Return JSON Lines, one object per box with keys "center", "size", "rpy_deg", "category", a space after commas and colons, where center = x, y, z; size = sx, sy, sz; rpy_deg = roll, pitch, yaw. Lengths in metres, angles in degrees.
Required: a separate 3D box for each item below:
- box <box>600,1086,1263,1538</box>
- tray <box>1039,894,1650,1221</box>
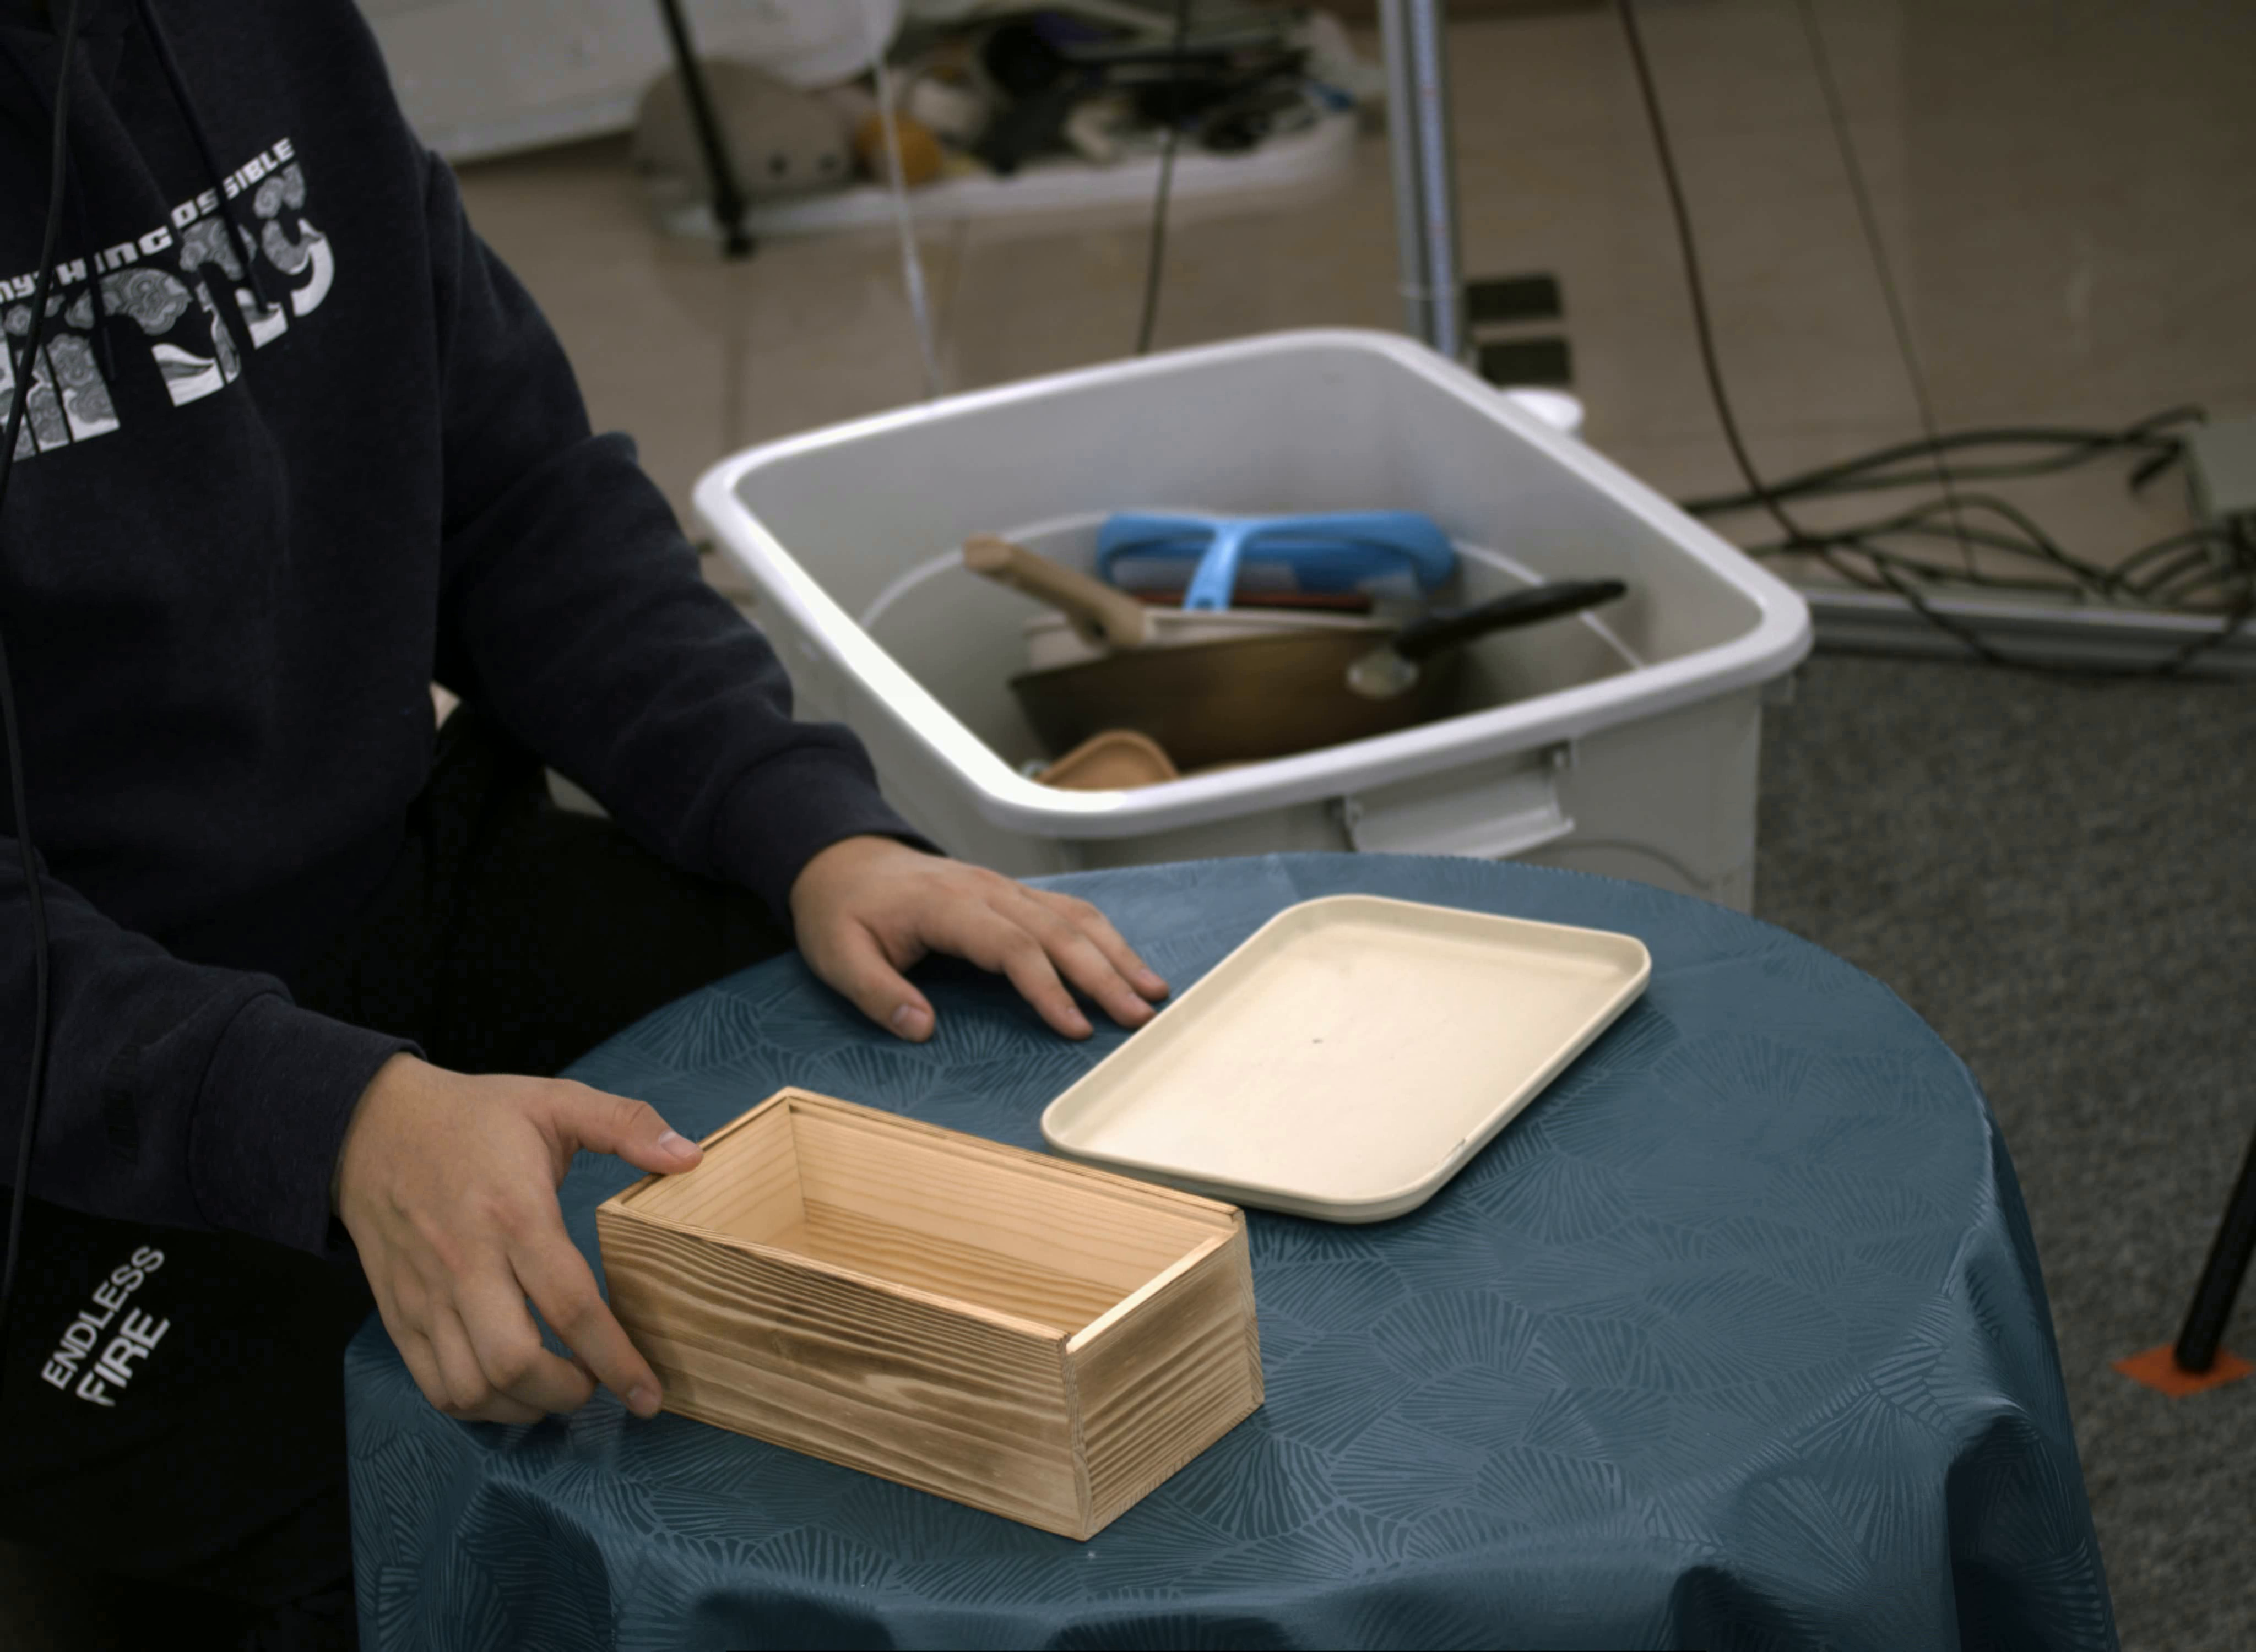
{"center": [-0.070, 0.168, 2.004], "size": [0.210, 0.081, 0.106], "rpy_deg": [12, 30, 35], "category": "box"}
{"center": [0.087, 0.089, 2.214], "size": [0.170, 0.018, 0.237], "rpy_deg": [8, 28, 31], "category": "tray"}
